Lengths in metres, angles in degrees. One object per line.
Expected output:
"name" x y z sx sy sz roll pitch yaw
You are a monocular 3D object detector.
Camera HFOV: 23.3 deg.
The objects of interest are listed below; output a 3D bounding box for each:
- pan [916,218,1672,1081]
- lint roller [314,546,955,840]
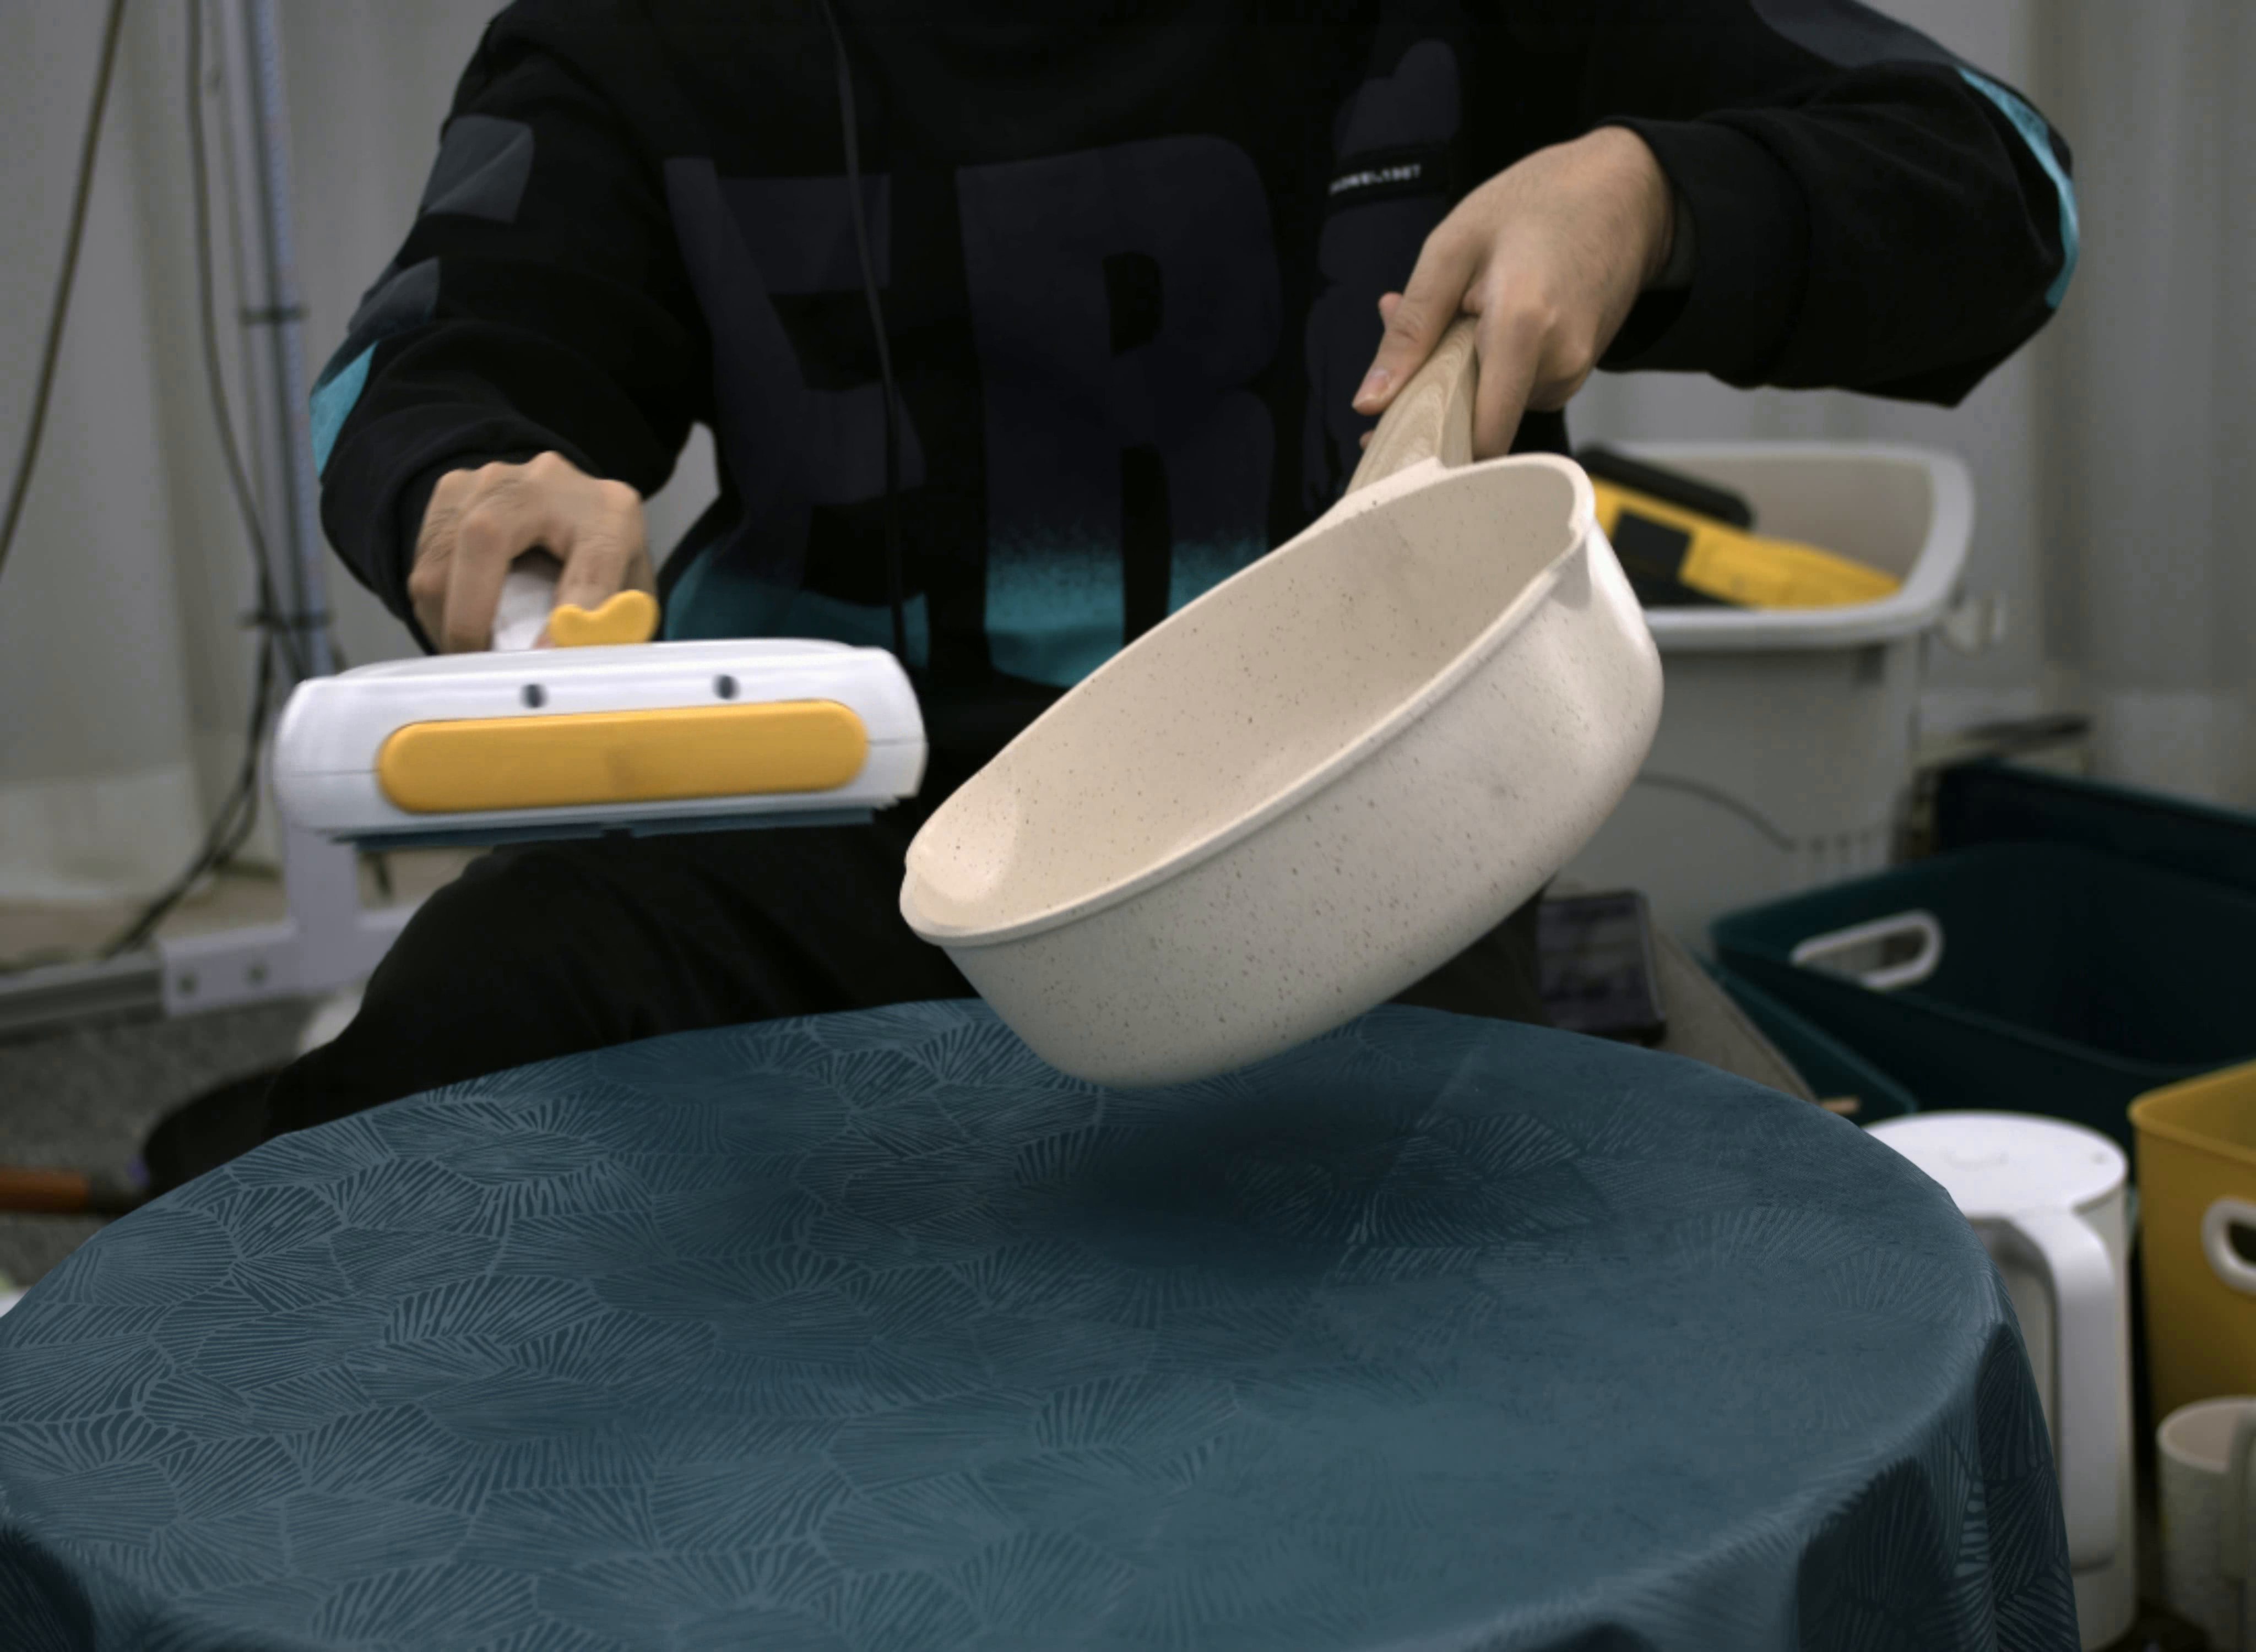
"pan" 0.086 -0.066 1.769 0.262 0.101 0.438 -27 17 34
"lint roller" -0.167 -0.044 1.678 0.192 0.074 0.194 -8 13 -20
